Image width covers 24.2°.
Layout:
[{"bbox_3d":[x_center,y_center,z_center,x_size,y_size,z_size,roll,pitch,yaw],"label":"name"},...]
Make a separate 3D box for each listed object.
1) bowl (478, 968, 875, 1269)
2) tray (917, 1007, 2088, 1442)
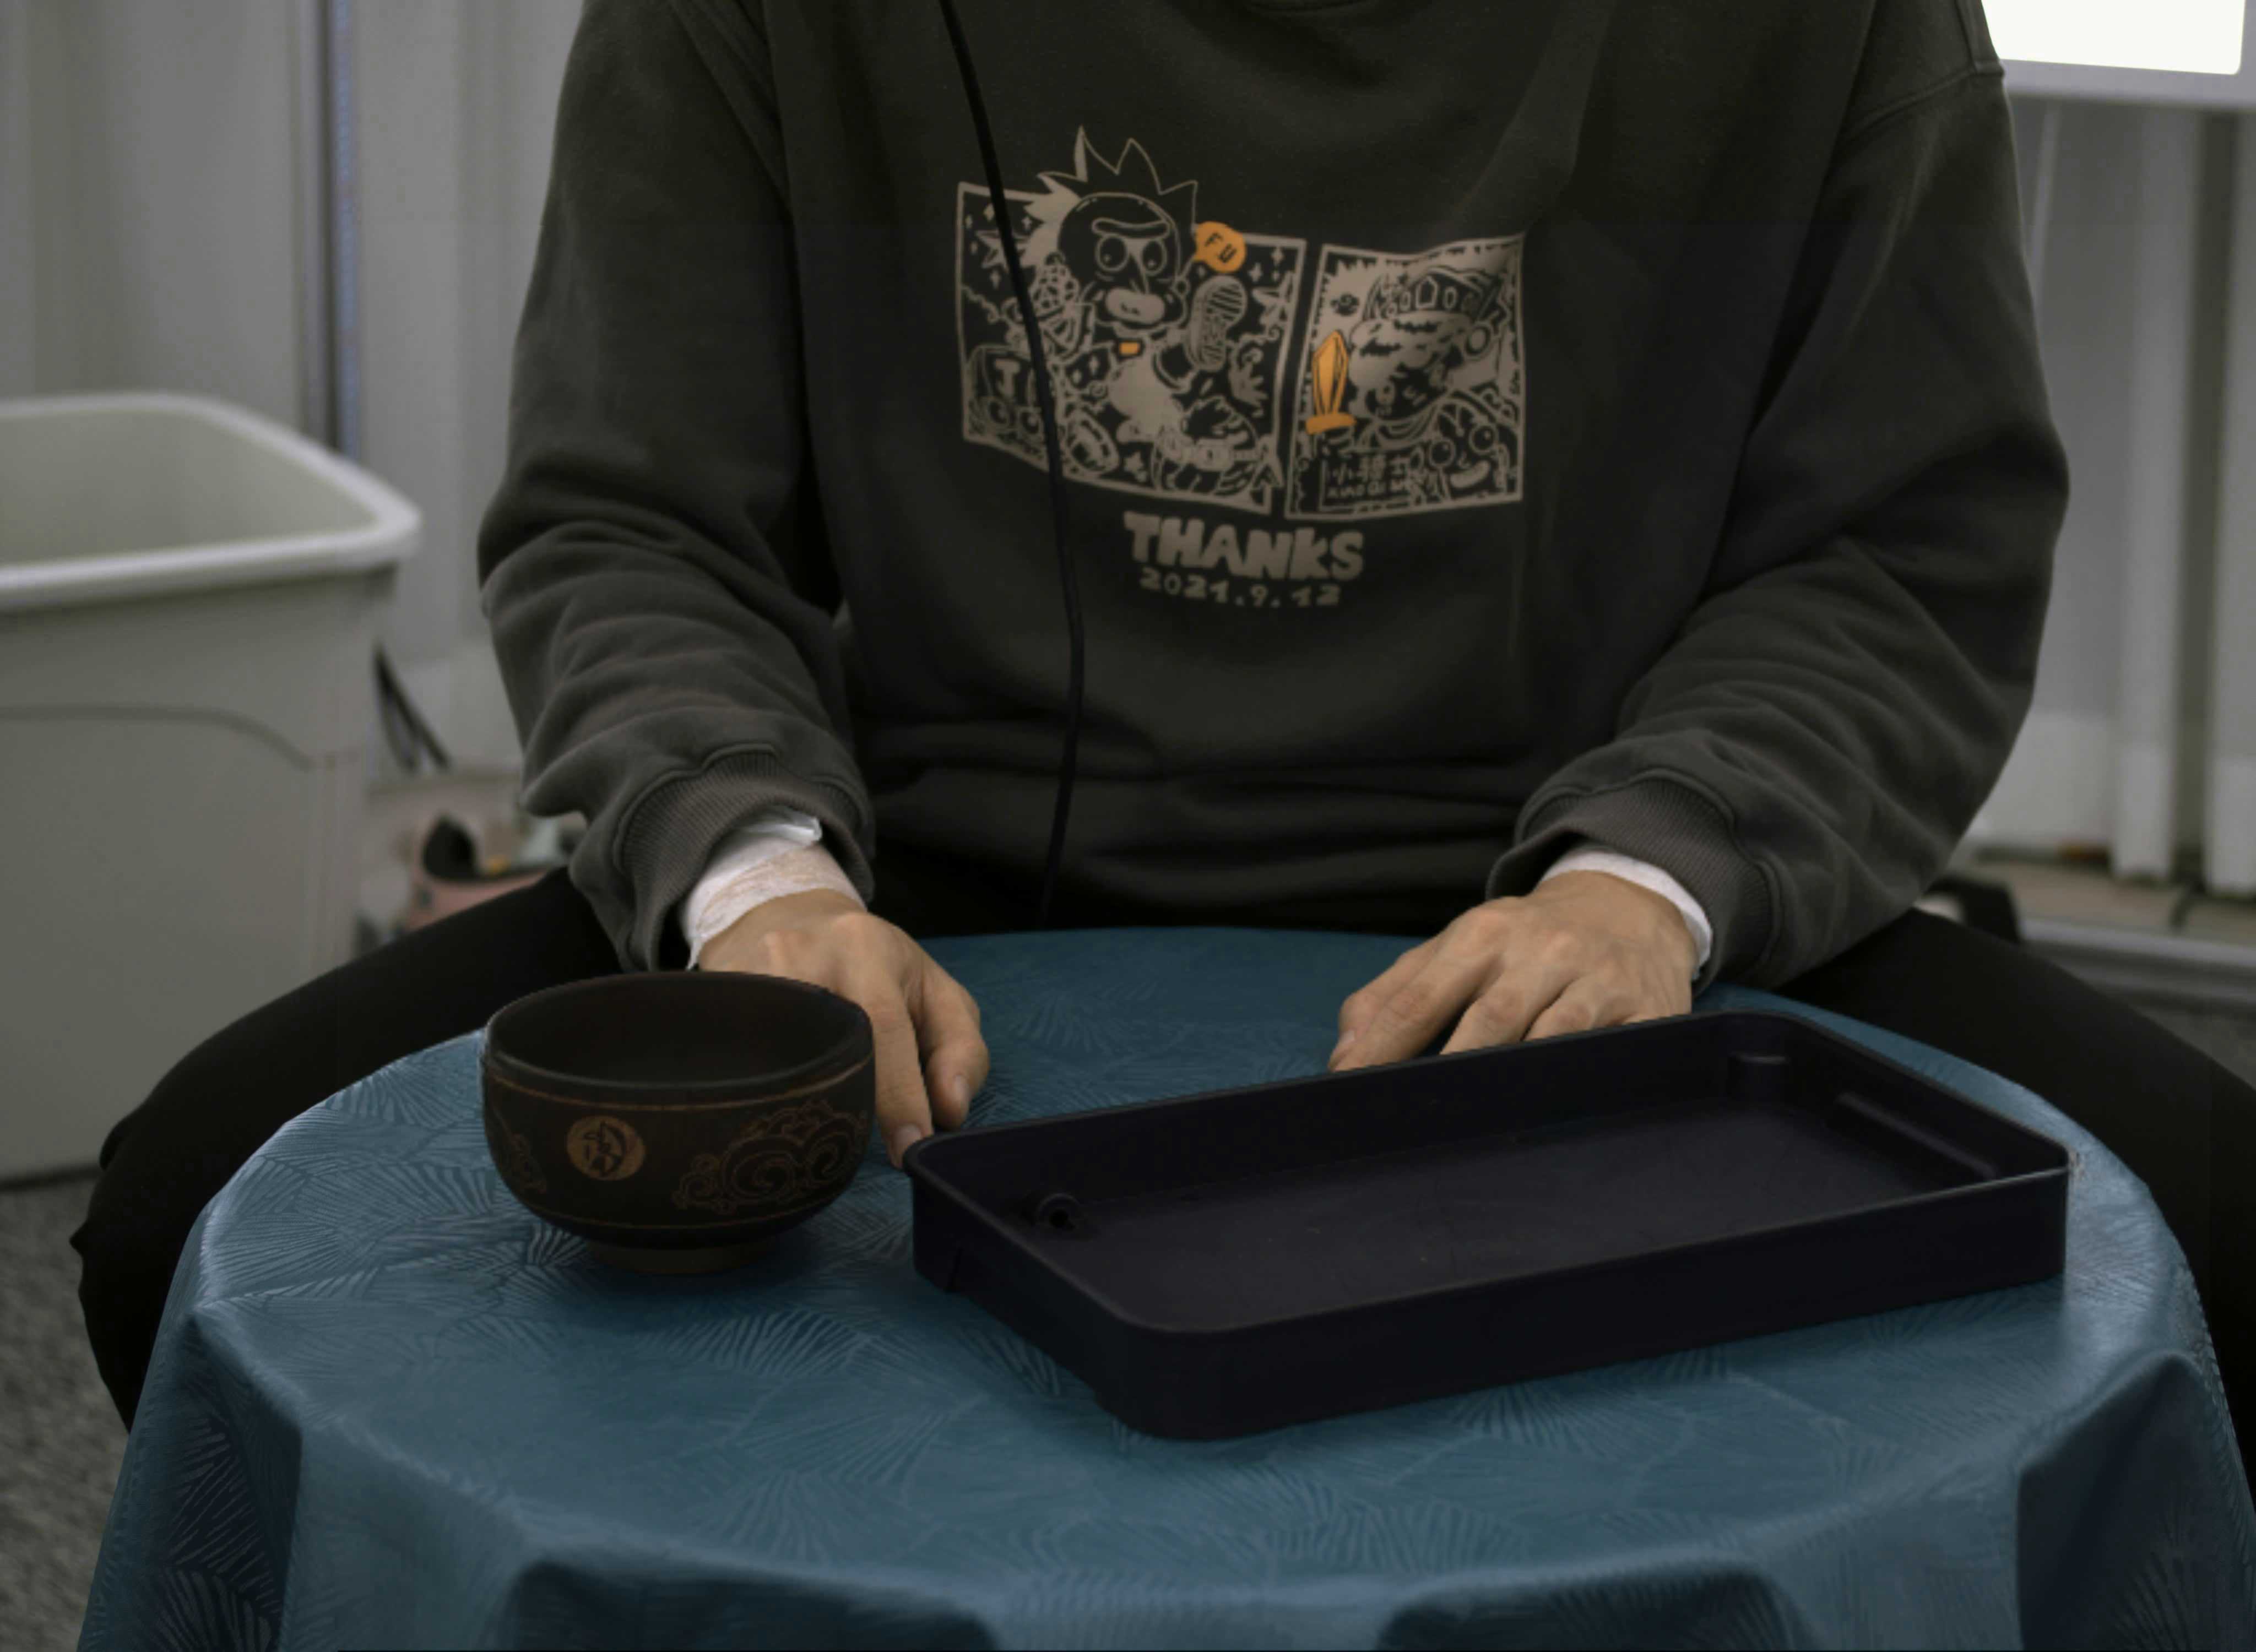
[{"bbox_3d":[-0.134,0.090,1.570,0.117,0.070,0.117,1,14,0],"label":"bowl"},{"bbox_3d":[0.112,0.113,1.567,0.319,0.037,0.182,-8,17,-28],"label":"tray"}]
